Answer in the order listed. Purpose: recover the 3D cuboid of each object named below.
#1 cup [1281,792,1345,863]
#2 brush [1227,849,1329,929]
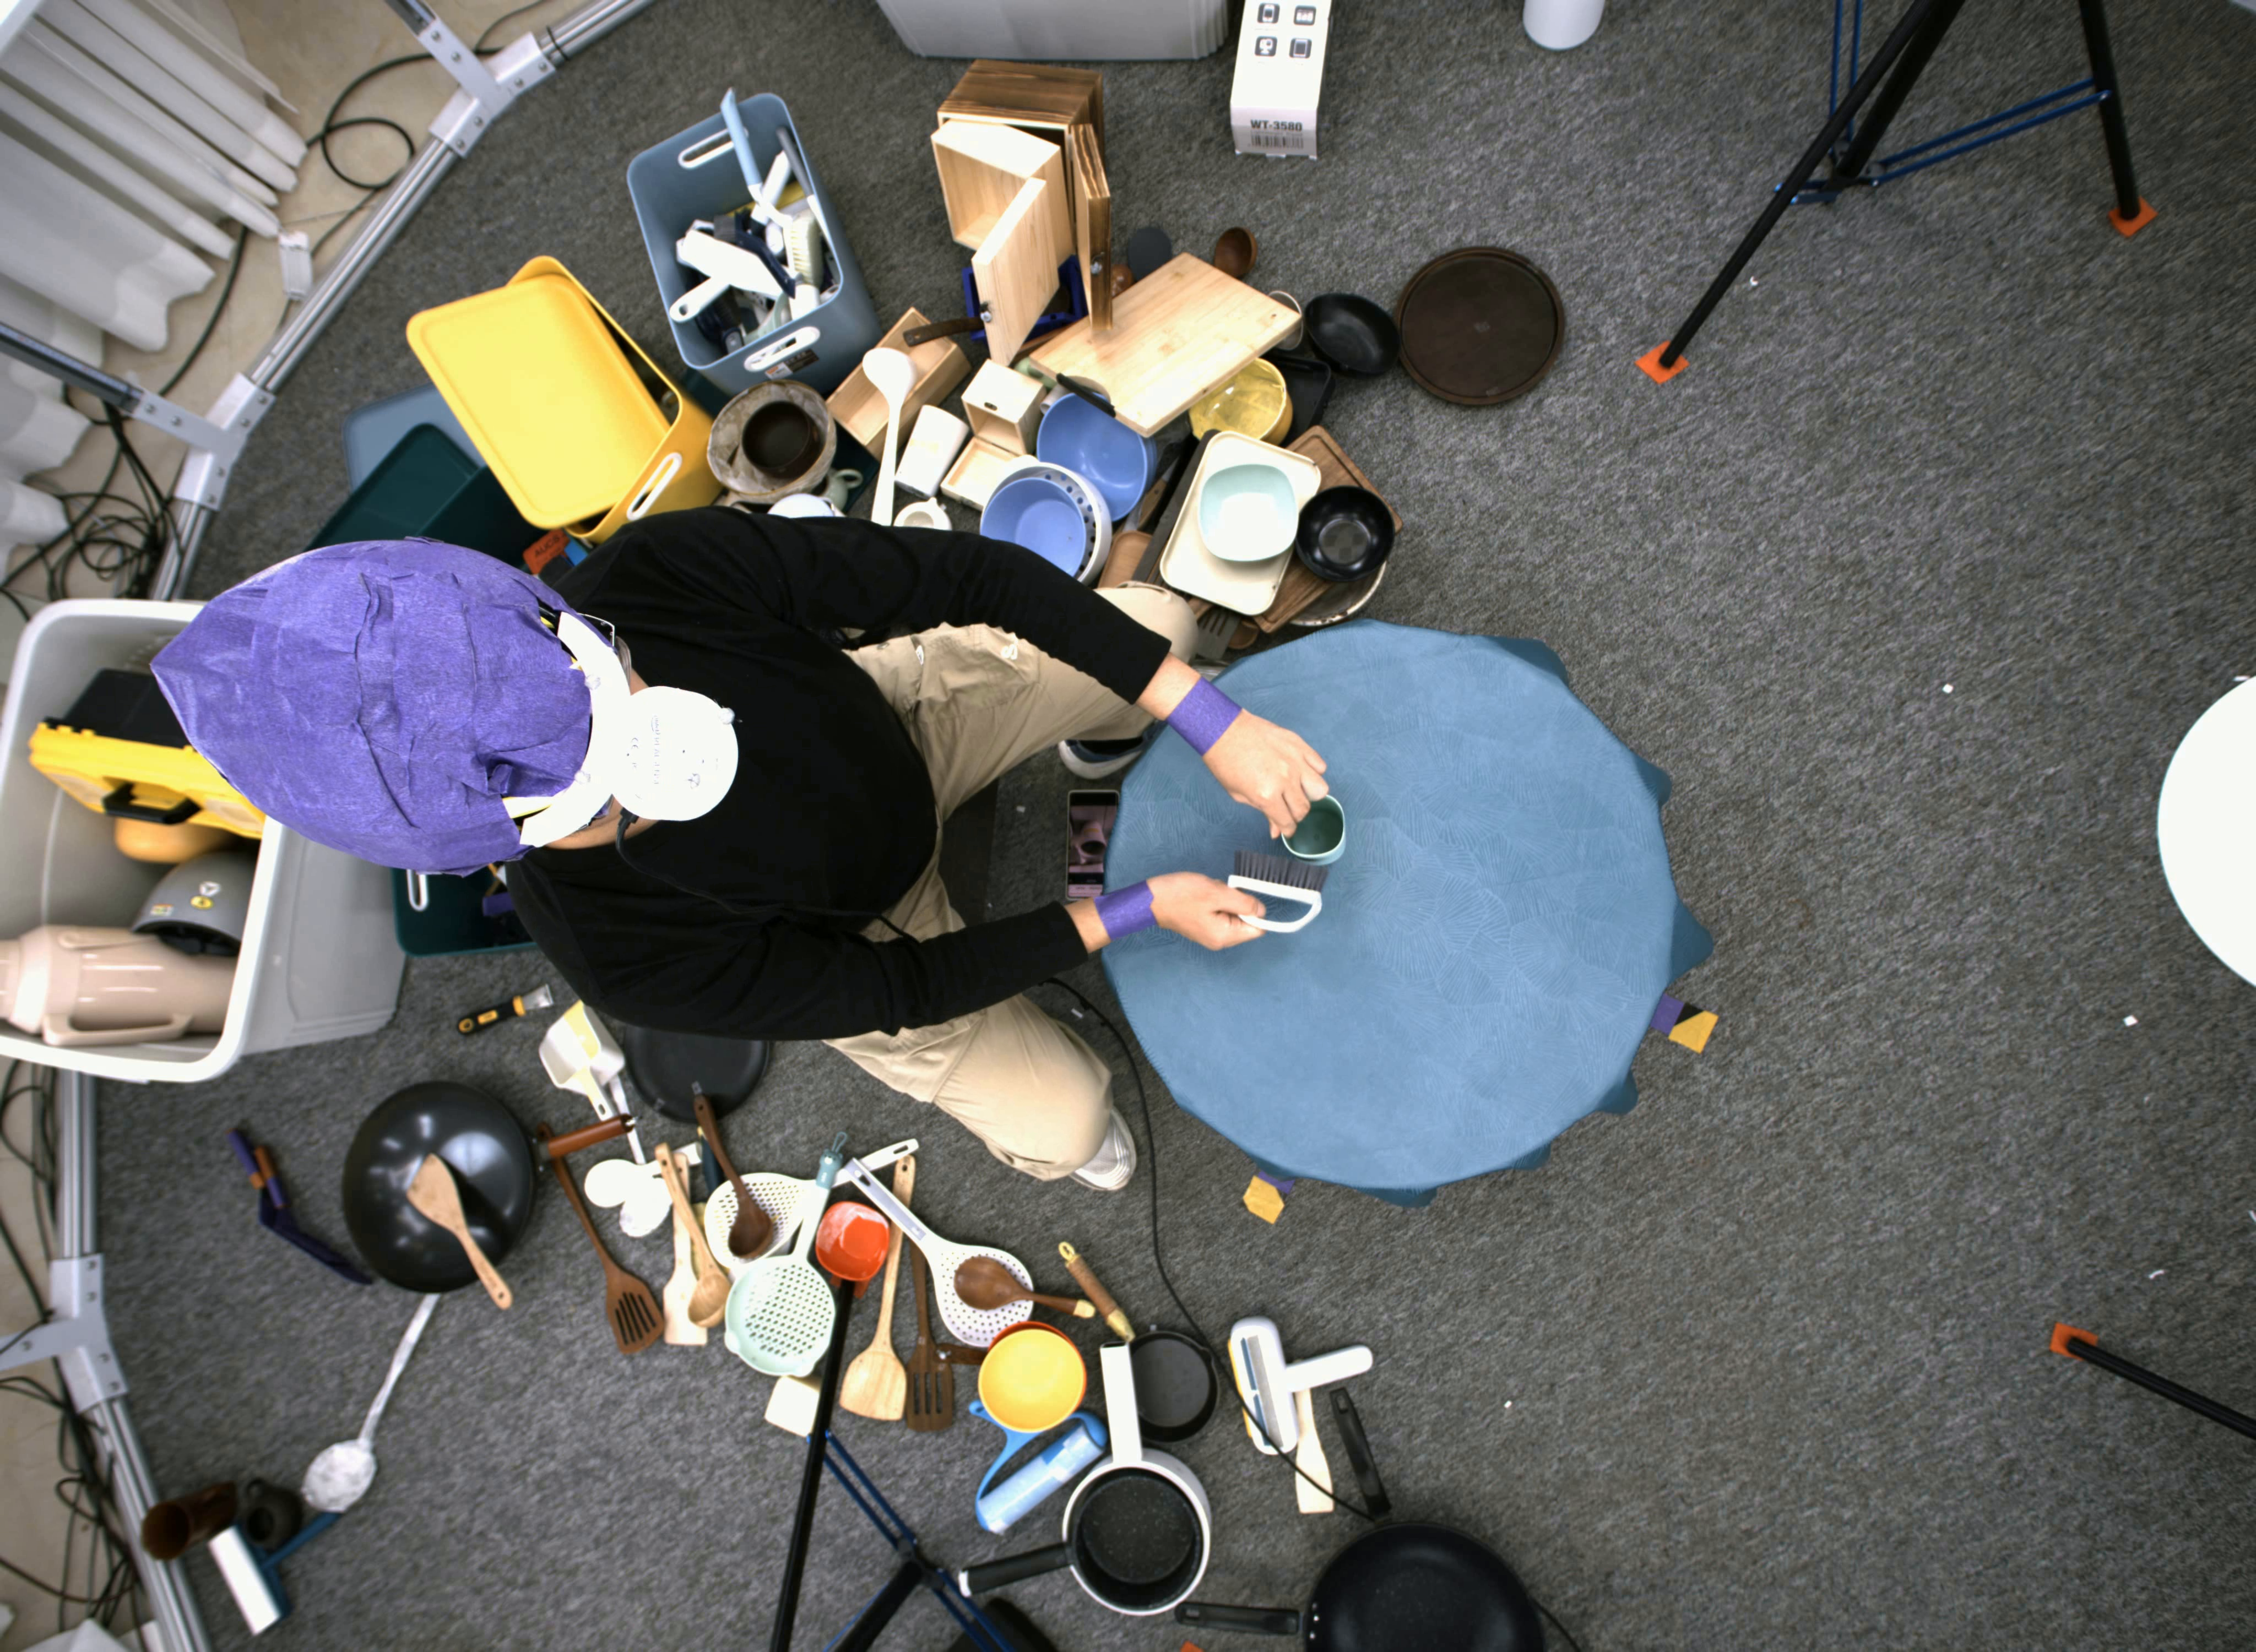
[{"bbox_3d":[0.191,0.004,1.415,0.067,0.132,0.066,-1,85,9],"label":"cup"},{"bbox_3d":[0.147,0.065,1.392,0.099,0.050,0.072,10,88,5],"label":"brush"}]
